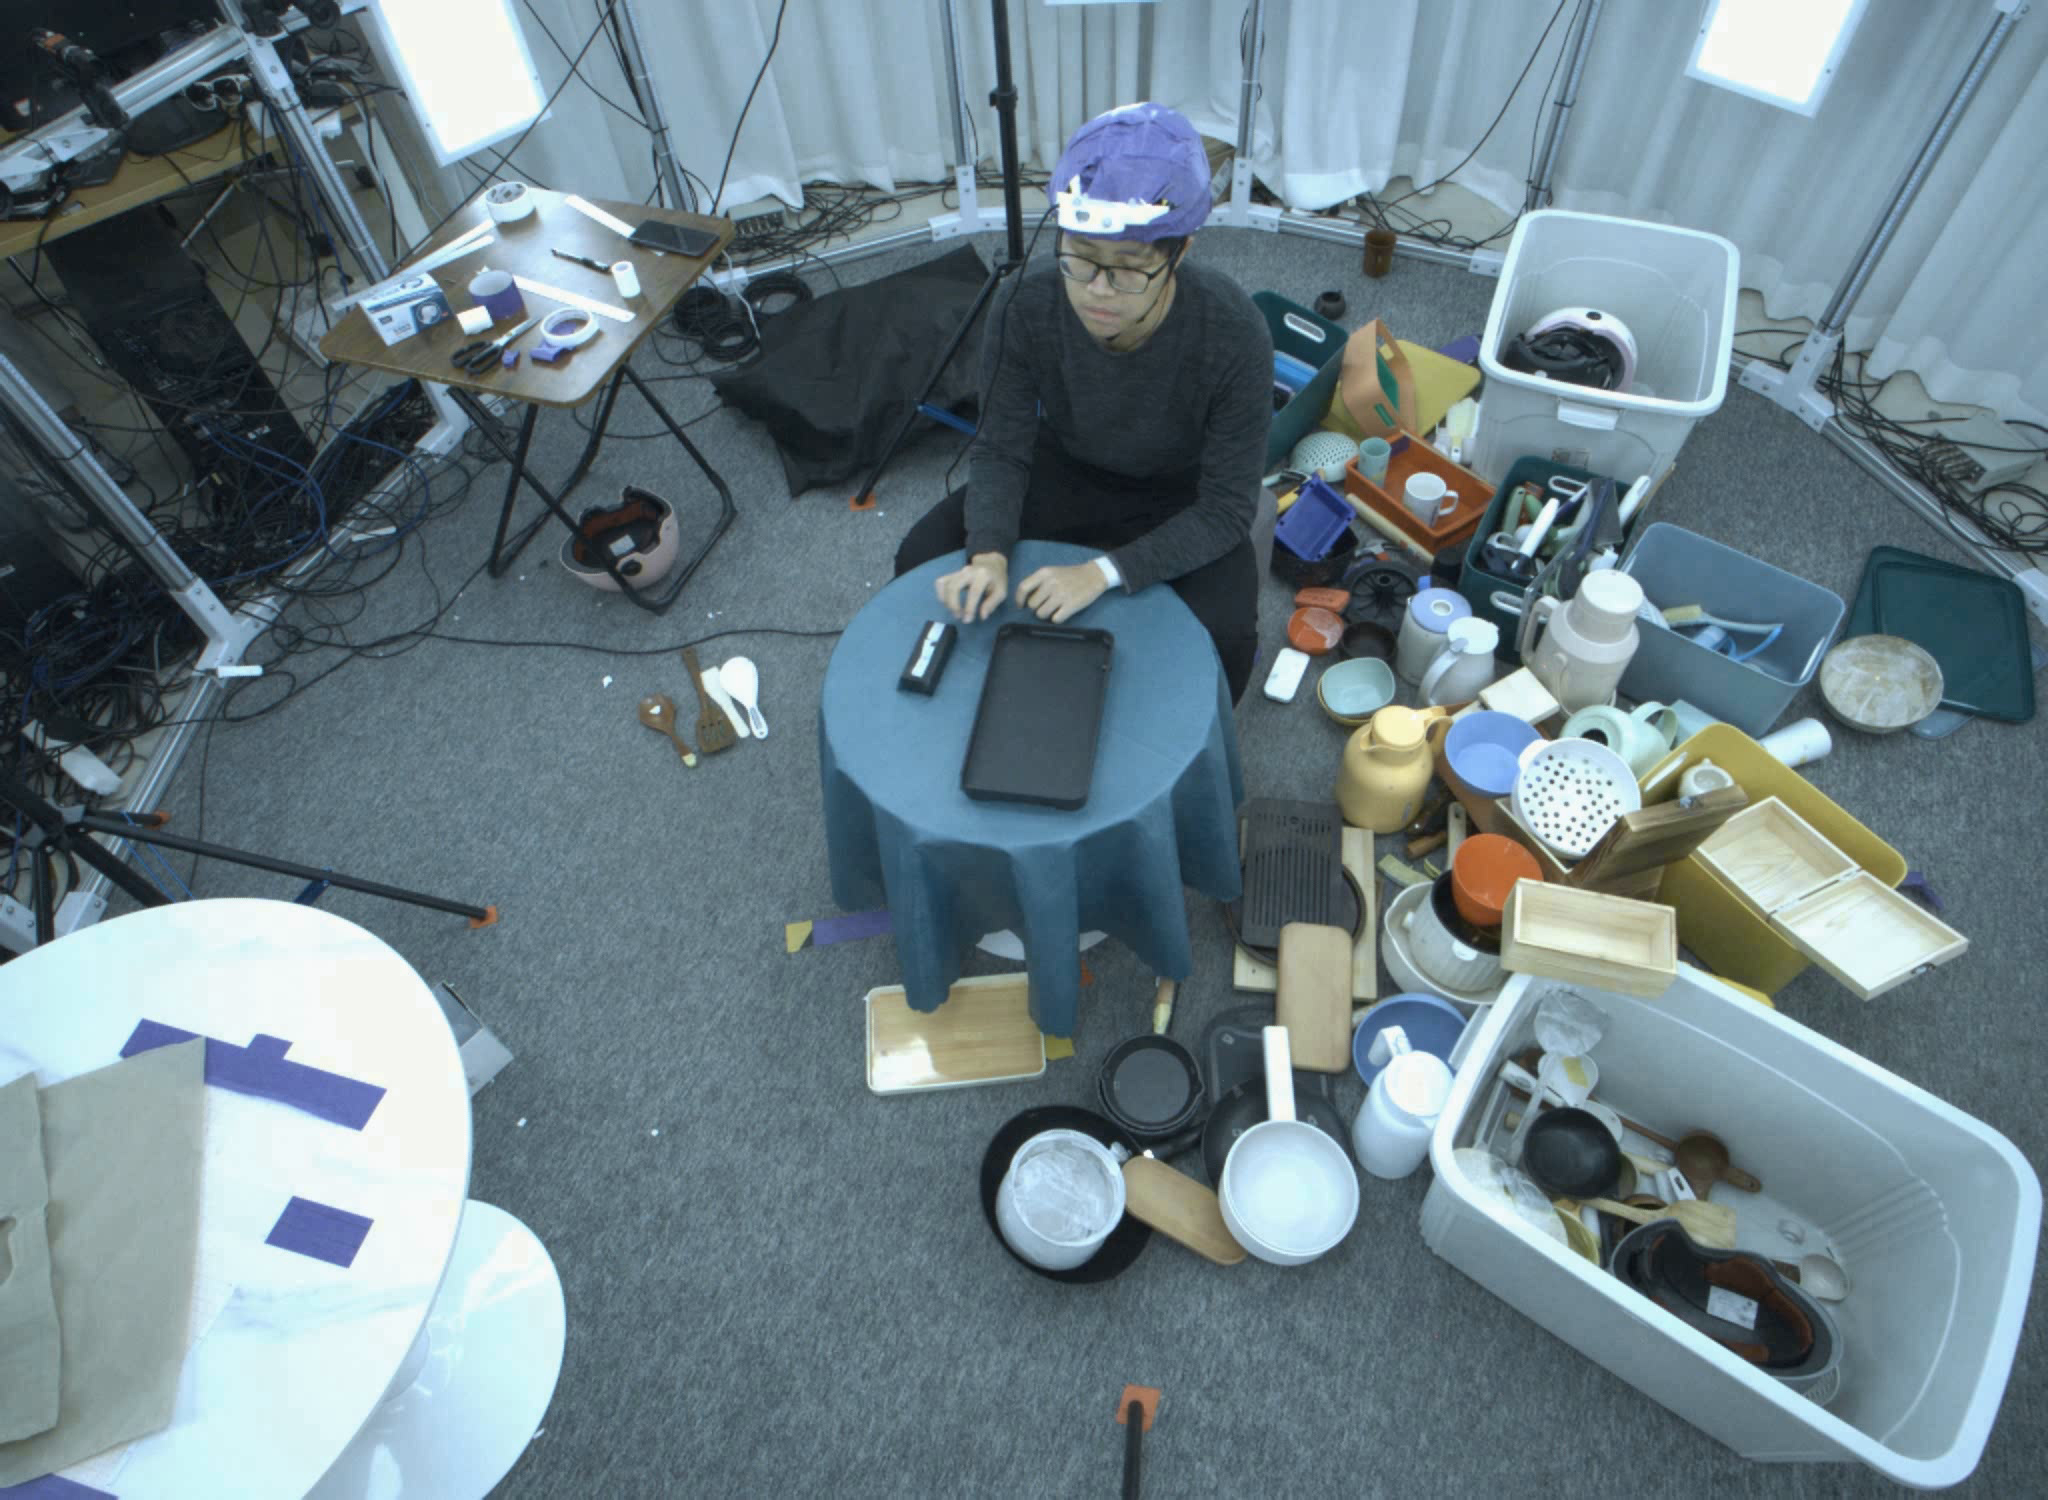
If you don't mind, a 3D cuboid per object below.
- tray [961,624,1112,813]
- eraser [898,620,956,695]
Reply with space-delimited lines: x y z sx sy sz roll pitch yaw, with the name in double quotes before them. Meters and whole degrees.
"tray" 0.023 -0.052 1.803 0.183 0.037 0.316 6 55 6
"eraser" -0.148 -0.142 1.876 0.053 0.031 0.125 13 55 9
